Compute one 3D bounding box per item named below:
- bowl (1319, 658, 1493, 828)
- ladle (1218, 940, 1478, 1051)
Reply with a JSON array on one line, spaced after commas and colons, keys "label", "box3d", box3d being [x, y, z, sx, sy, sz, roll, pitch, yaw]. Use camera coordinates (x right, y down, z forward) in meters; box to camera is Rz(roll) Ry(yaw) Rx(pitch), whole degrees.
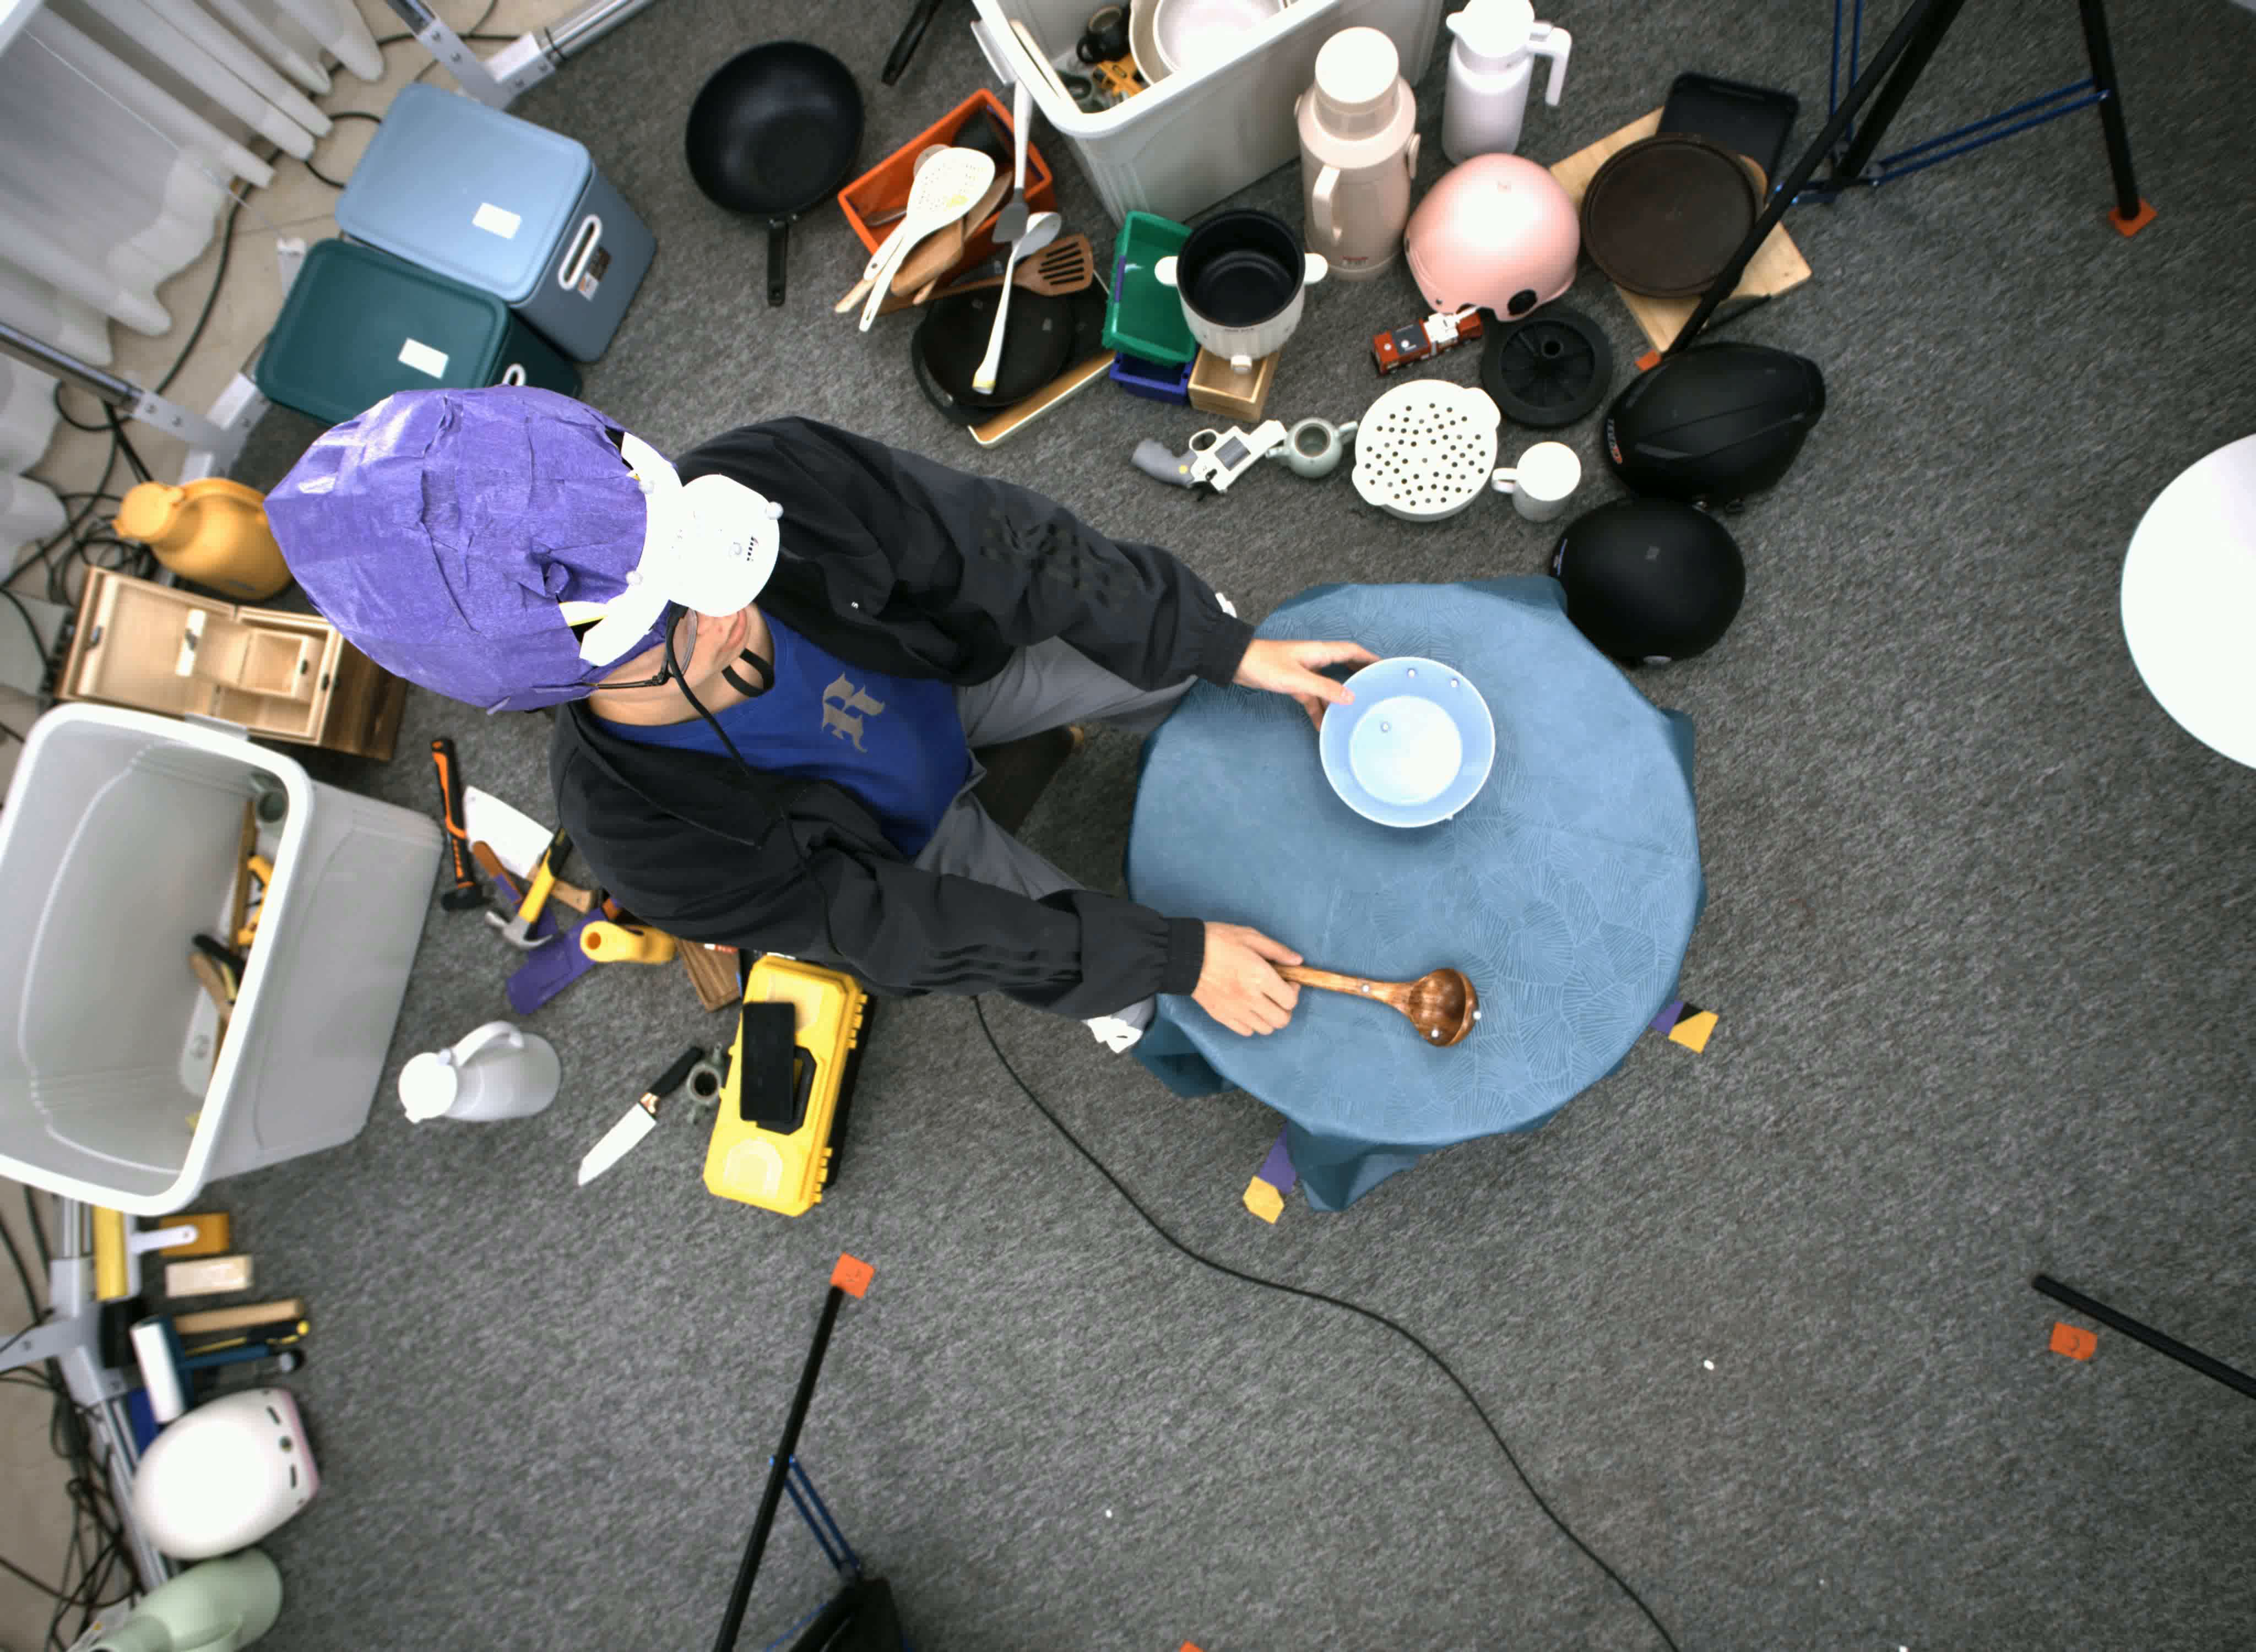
[{"label": "bowl", "box3d": [0.287, -0.083, 1.427, 0.177, 0.070, 0.175, -1, 86, 11]}, {"label": "ladle", "box3d": [0.221, 0.163, 1.423, 0.274, 0.077, 0.082, 13, 88, 11]}]
